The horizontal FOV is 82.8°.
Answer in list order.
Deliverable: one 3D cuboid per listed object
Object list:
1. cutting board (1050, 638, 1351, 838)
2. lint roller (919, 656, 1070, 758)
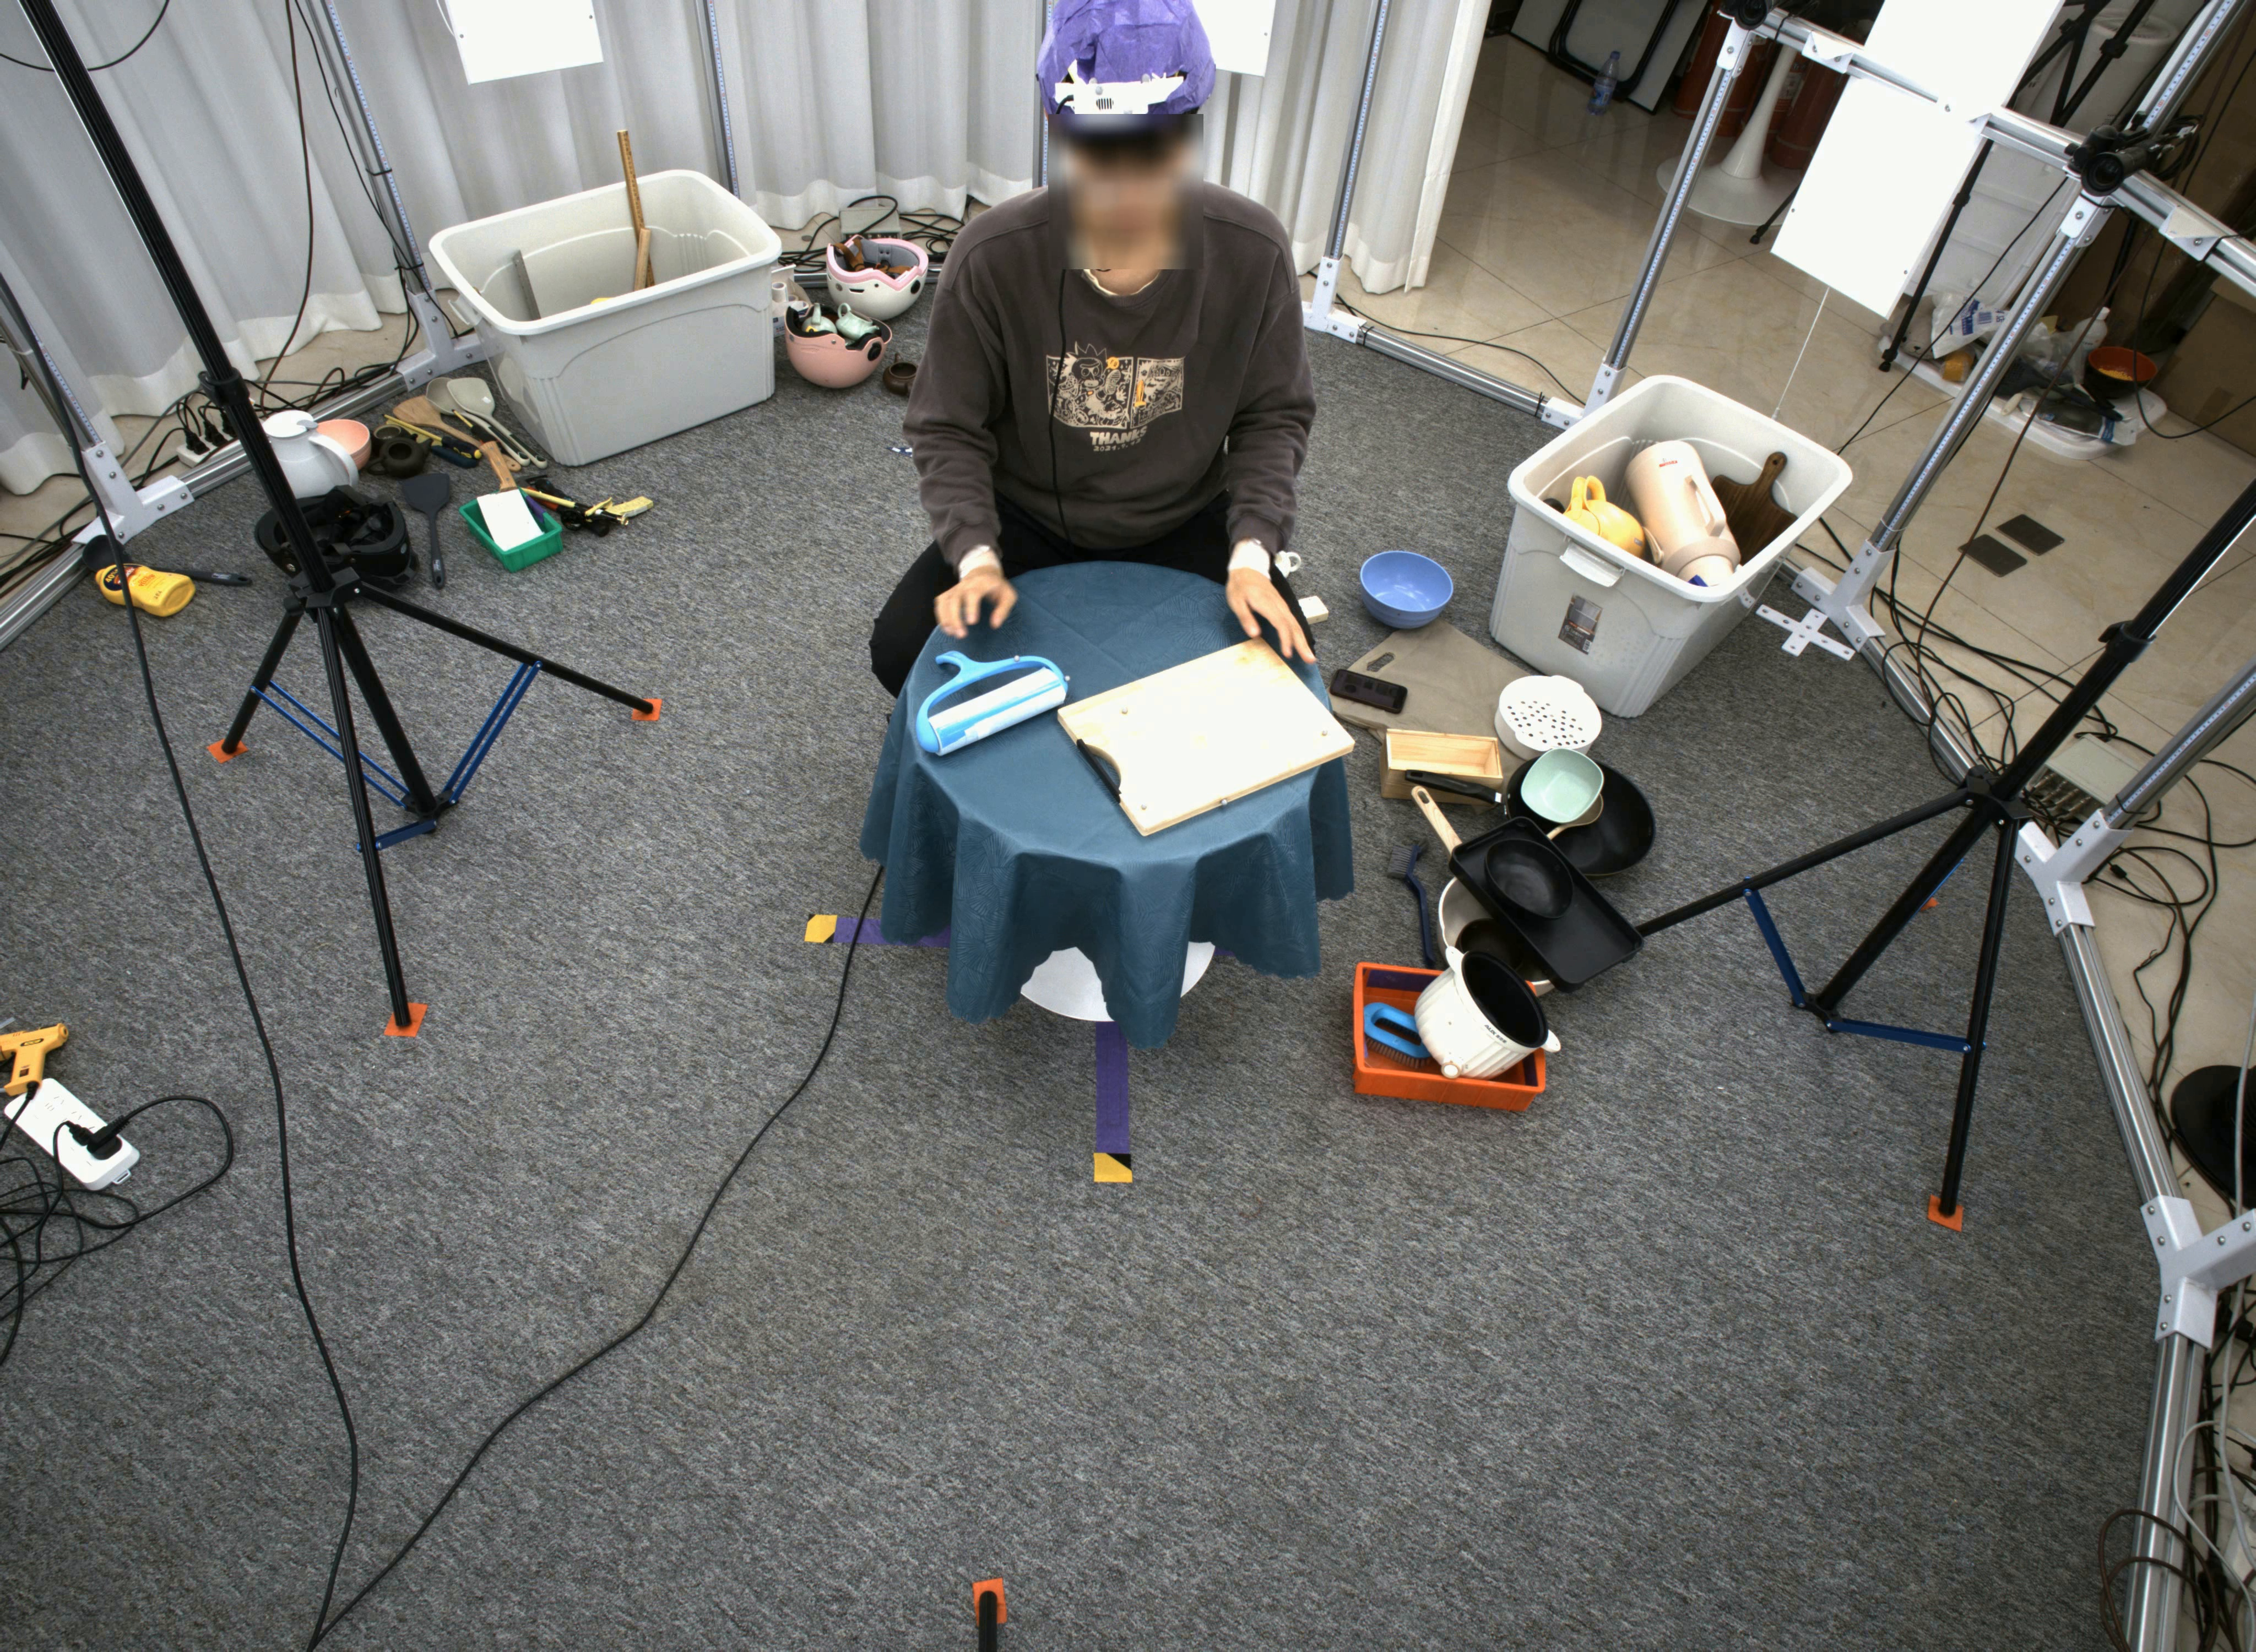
[{"bbox_3d":[0.102,-0.131,1.775,0.350,0.023,0.256,-22,53,-21],"label":"cutting board"},{"bbox_3d":[-0.214,-0.193,1.783,0.230,0.066,0.183,-29,57,-25],"label":"lint roller"}]
